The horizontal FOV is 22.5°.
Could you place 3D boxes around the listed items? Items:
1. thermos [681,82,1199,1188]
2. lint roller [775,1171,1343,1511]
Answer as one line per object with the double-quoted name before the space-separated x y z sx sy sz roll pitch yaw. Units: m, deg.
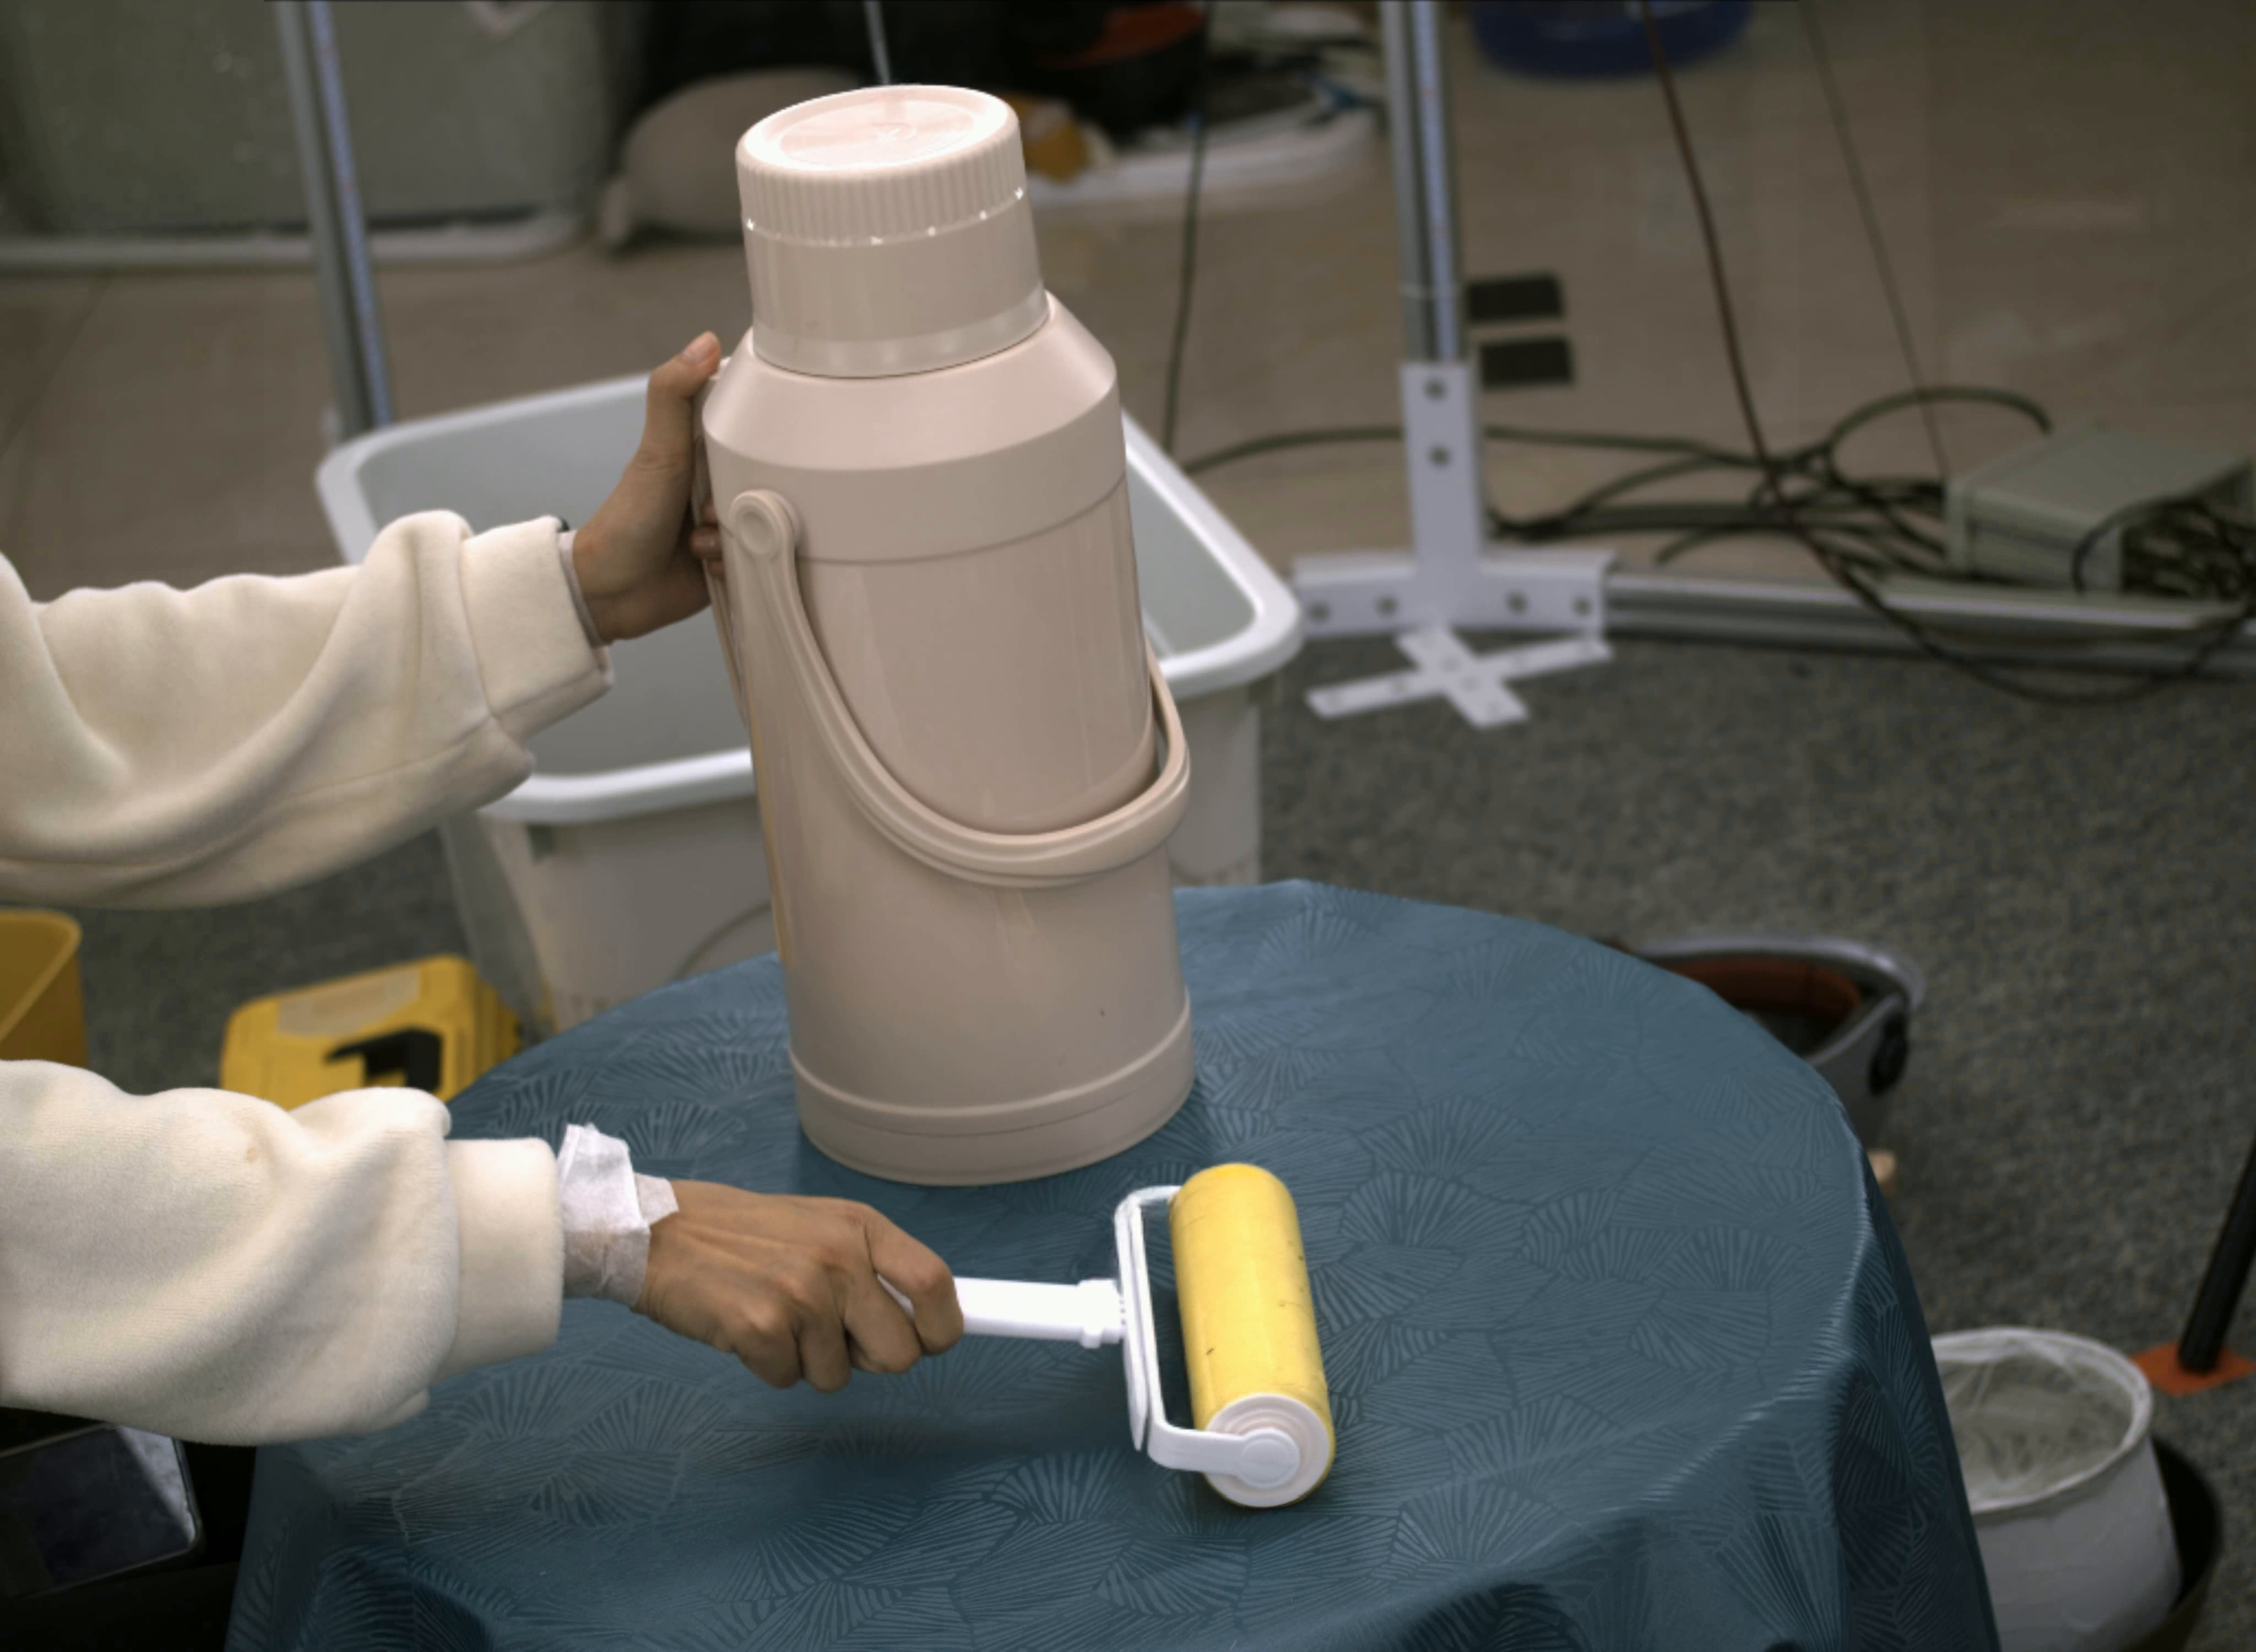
"thermos" -0.080 -0.077 2.154 0.205 0.413 0.173 15 34 38
"lint roller" -0.025 0.163 1.981 0.192 0.052 0.171 15 24 -12
